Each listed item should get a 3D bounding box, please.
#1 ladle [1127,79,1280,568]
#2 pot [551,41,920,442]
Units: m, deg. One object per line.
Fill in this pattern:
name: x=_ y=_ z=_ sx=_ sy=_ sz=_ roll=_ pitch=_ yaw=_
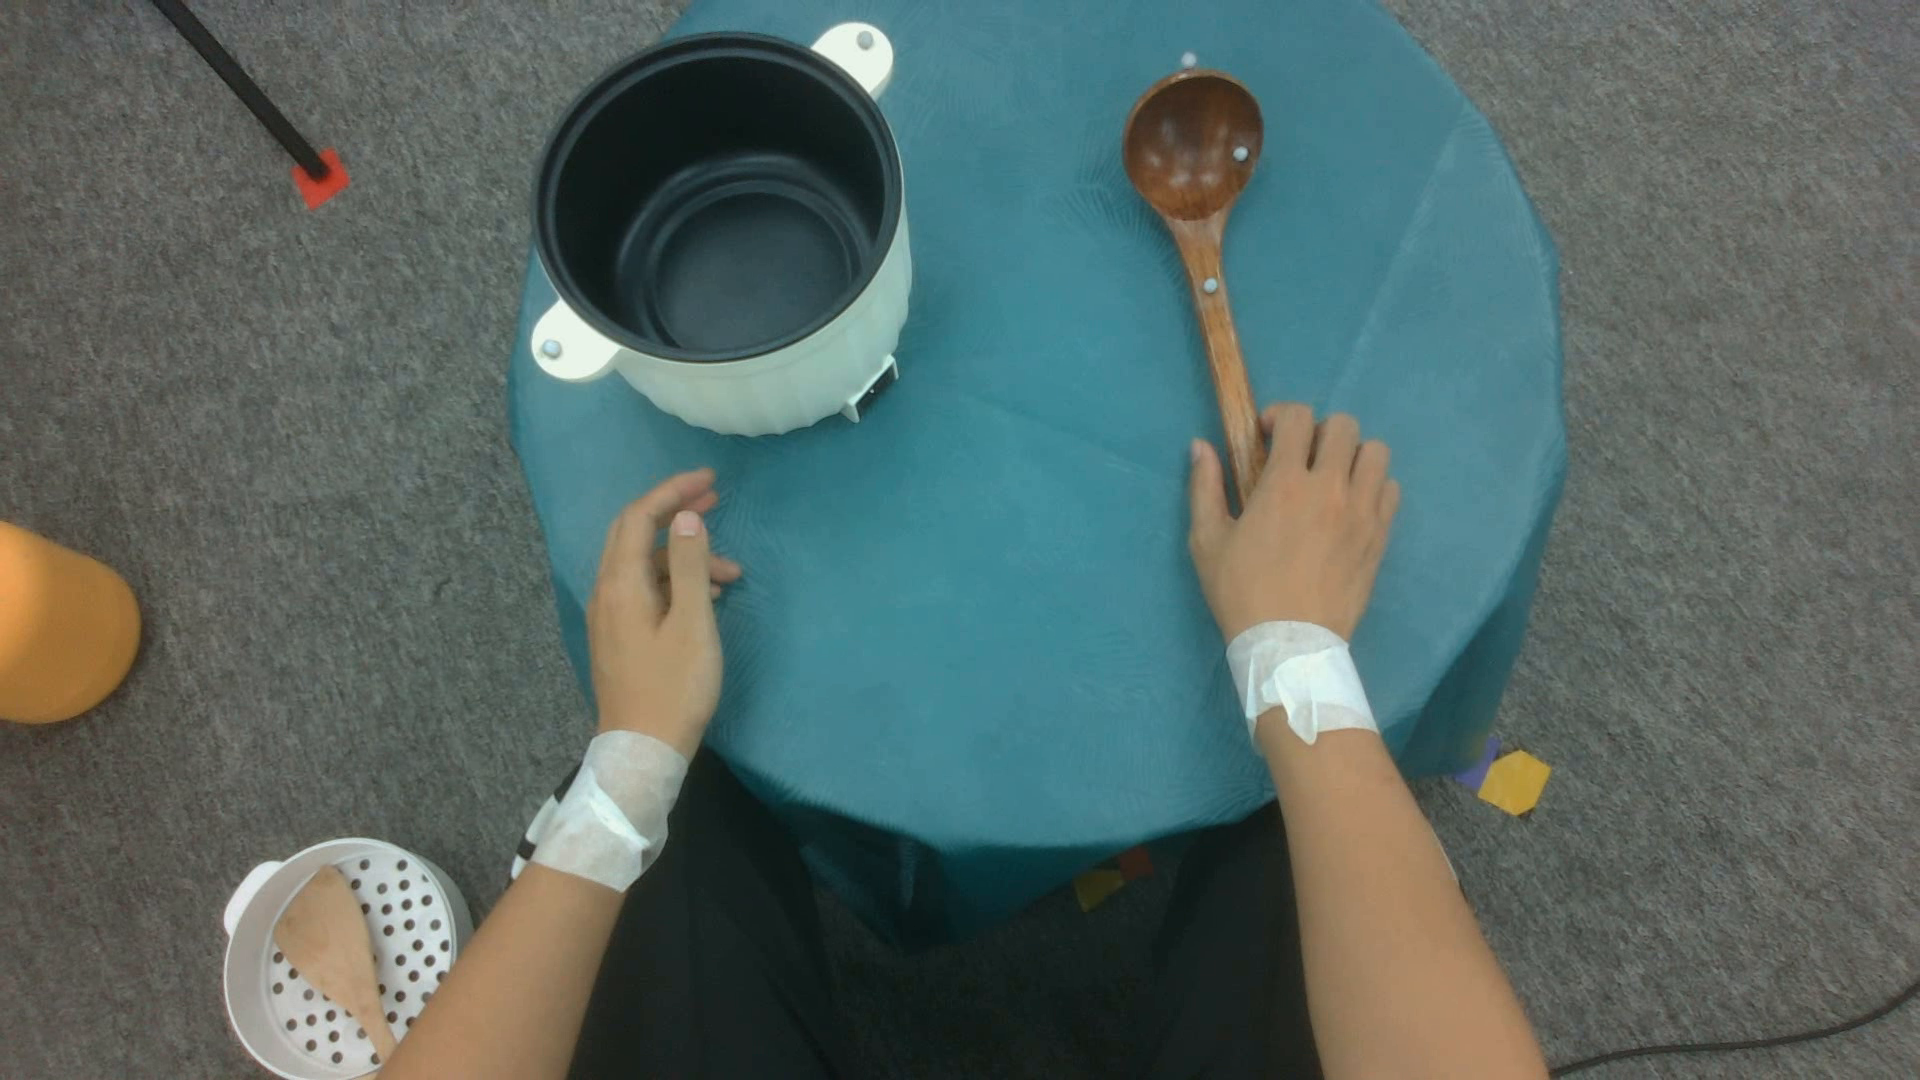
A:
ladle: x=0.150 y=-0.125 z=0.762 sx=0.082 sy=0.076 sz=0.275 roll=-8 pitch=72 yaw=2
pot: x=-0.116 y=-0.150 z=0.750 sx=0.190 sy=0.142 sz=0.241 roll=38 pitch=77 yaw=10
